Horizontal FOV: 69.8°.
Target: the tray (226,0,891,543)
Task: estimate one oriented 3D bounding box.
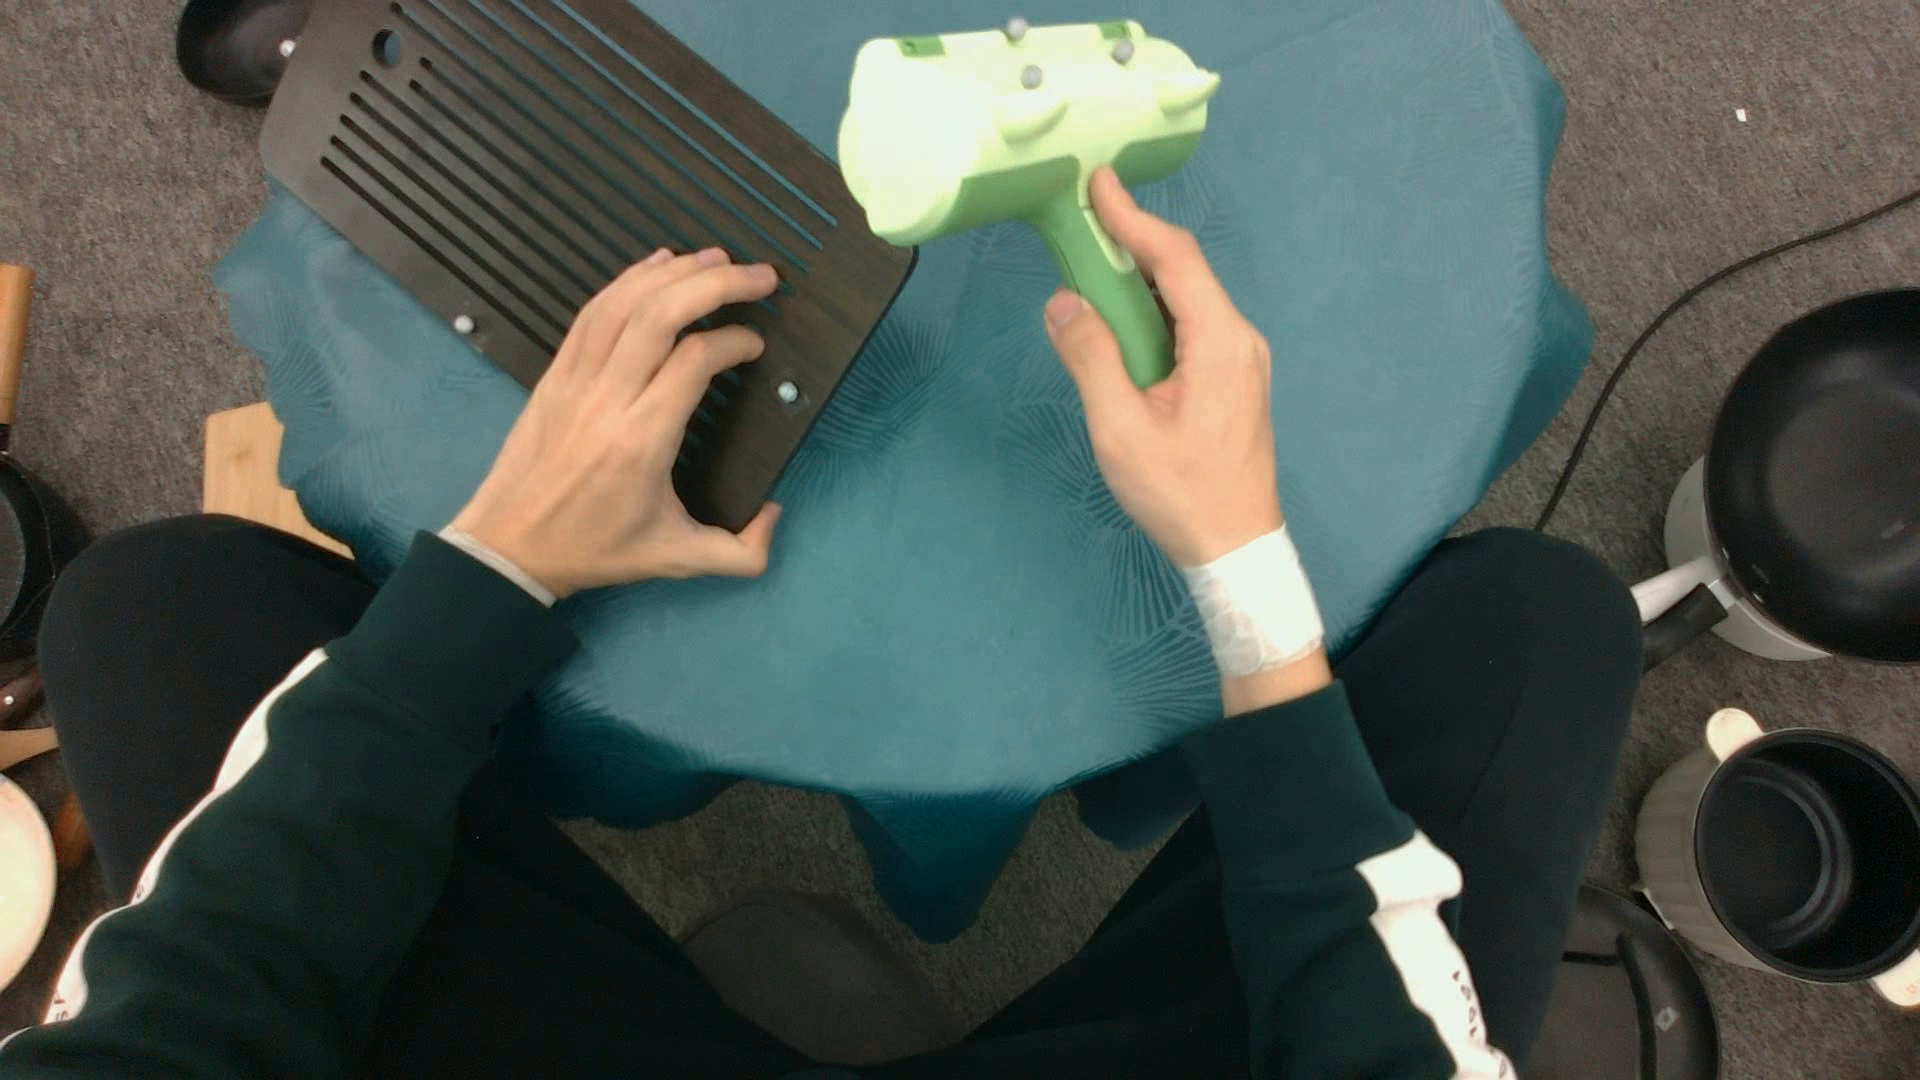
[{"bbox_3d":[-0.186,-0.151,0.613,0.306,0.018,0.169,38,111,7],"label":"tray"}]

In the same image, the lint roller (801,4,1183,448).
[{"bbox_3d":[0.051,-0.127,0.533,0.199,0.082,0.183,-30,85,-49],"label":"lint roller"}]
